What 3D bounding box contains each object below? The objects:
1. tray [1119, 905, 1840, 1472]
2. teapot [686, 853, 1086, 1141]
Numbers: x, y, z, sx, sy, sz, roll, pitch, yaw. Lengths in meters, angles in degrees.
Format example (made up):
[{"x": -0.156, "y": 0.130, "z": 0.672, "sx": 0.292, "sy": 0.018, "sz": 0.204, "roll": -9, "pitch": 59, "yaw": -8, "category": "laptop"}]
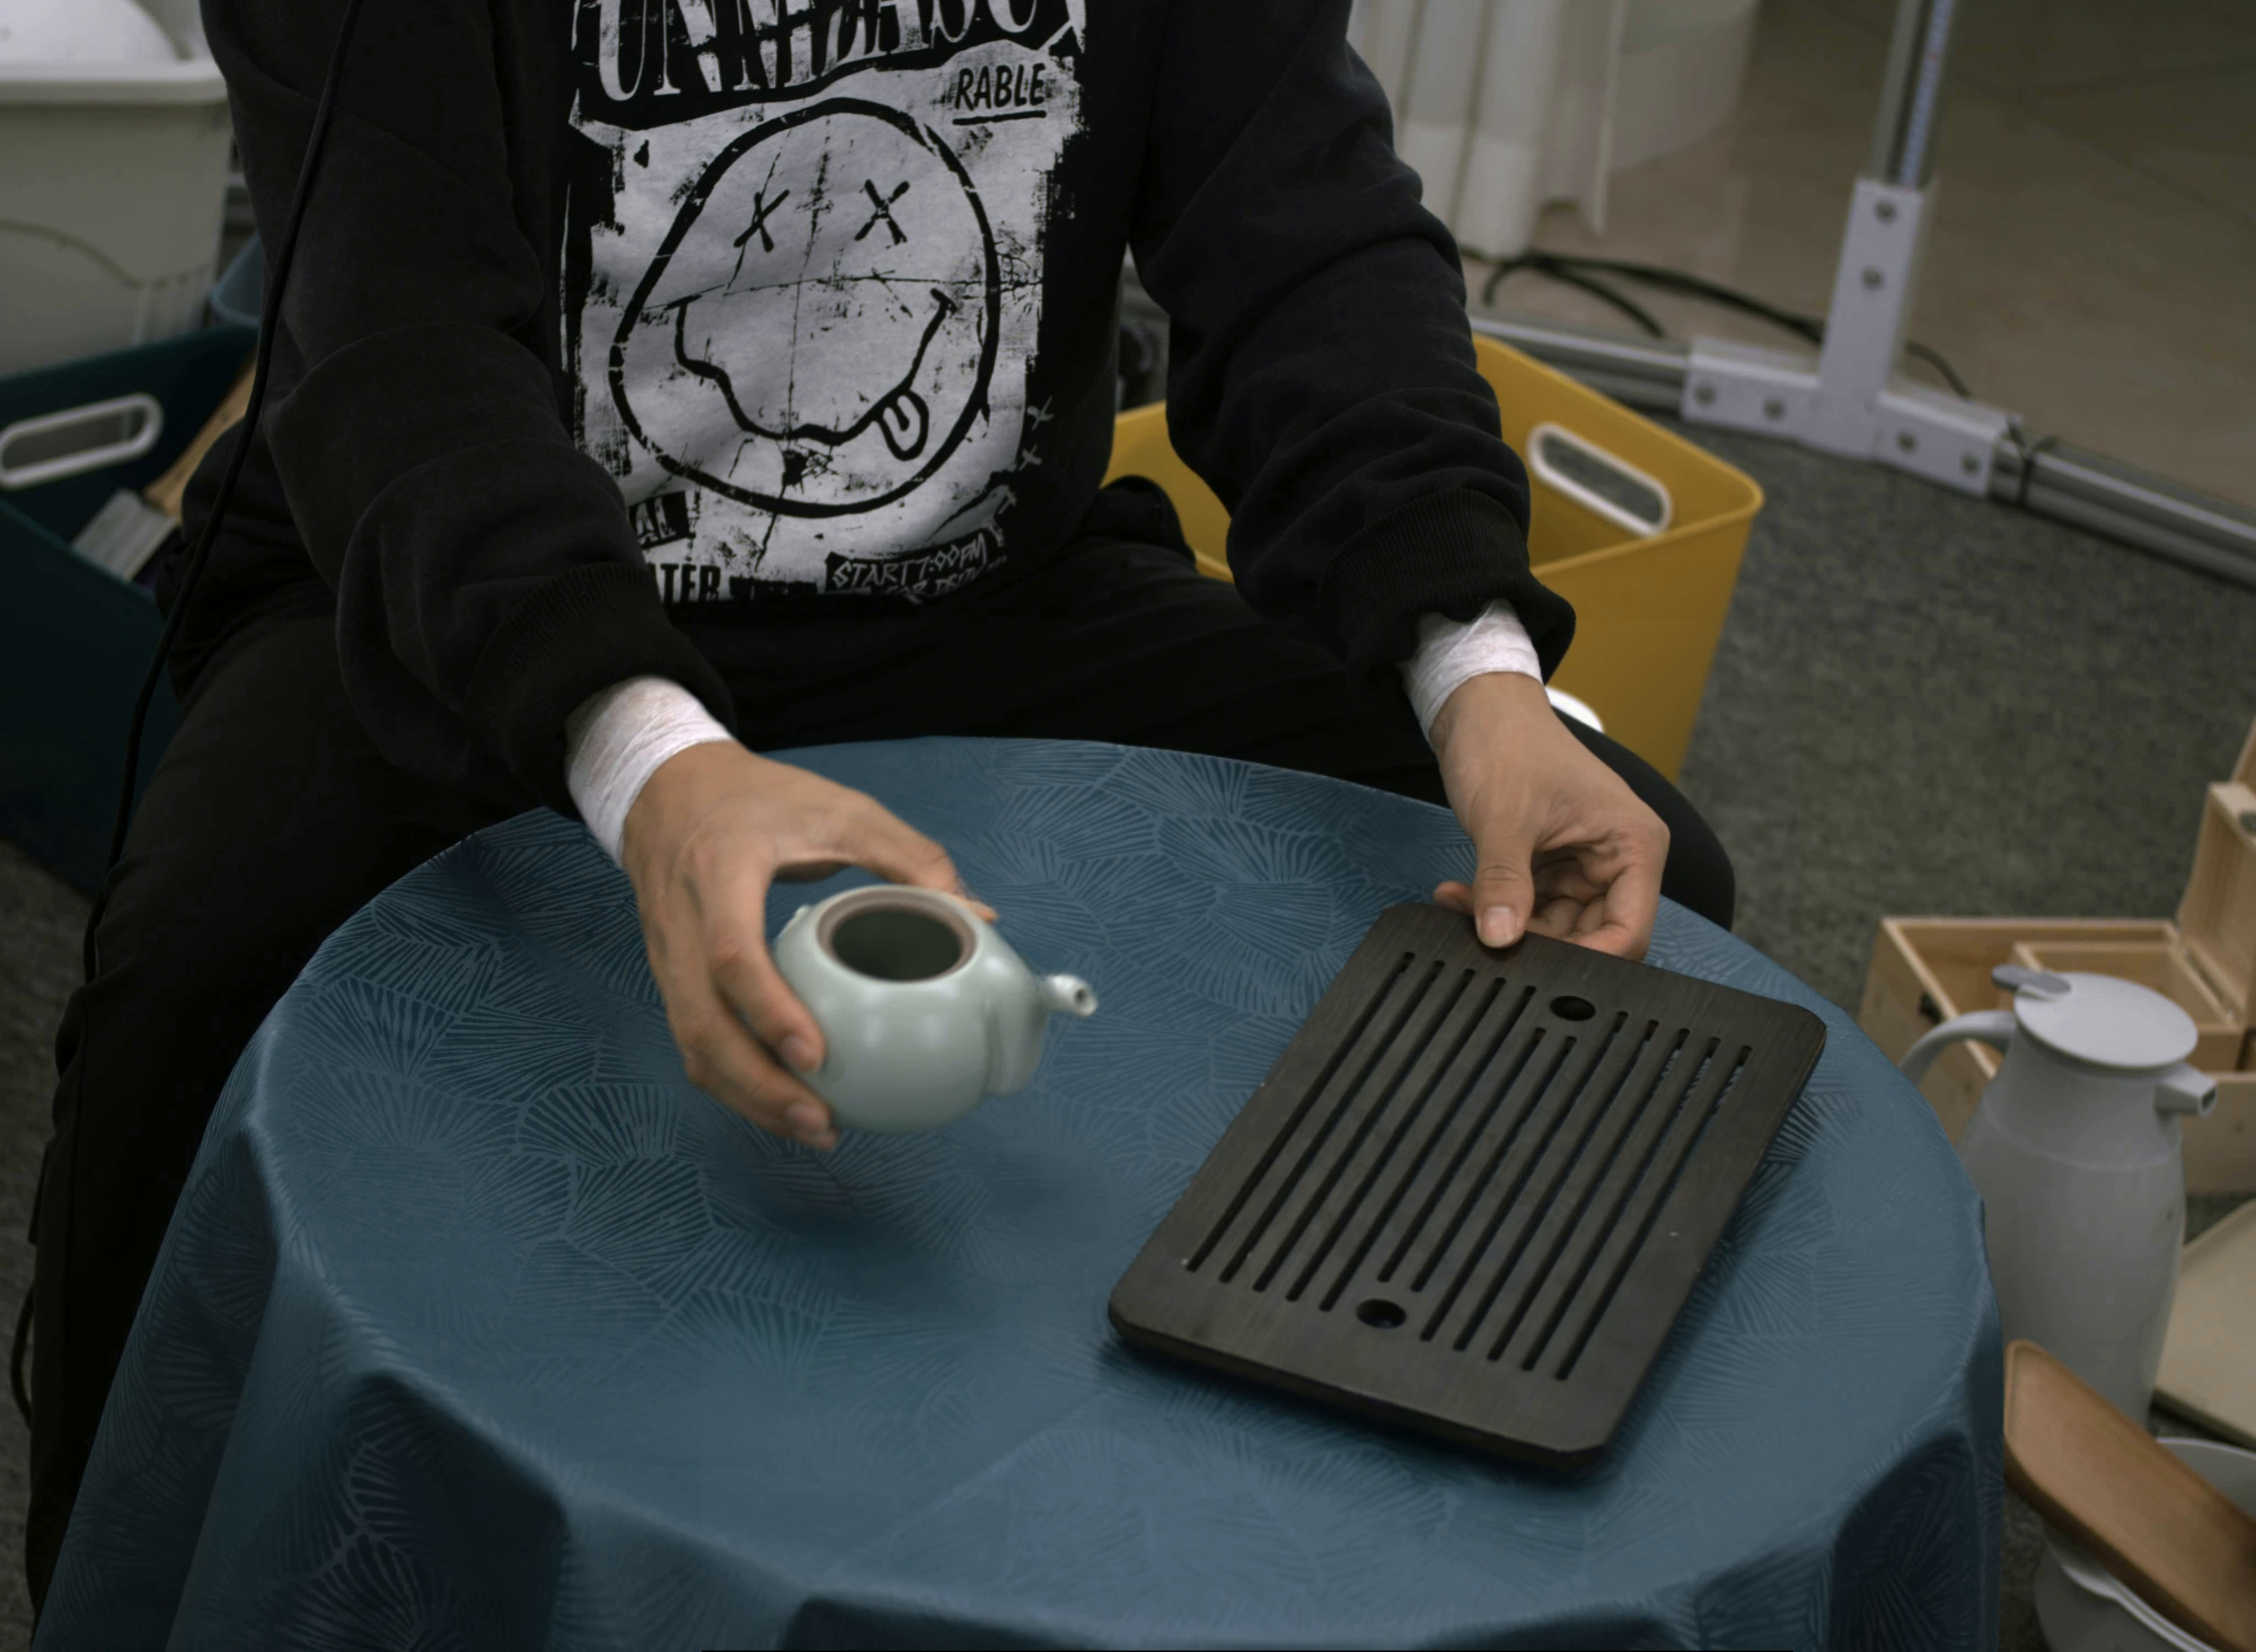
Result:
[{"x": 0.125, "y": 0.119, "z": 1.810, "sx": 0.170, "sy": 0.018, "sz": 0.306, "roll": 15, "pitch": 30, "yaw": 16, "category": "tray"}, {"x": -0.082, "y": 0.061, "z": 1.753, "sx": 0.144, "sy": 0.074, "sz": 0.088, "roll": 22, "pitch": 37, "yaw": 19, "category": "teapot"}]
